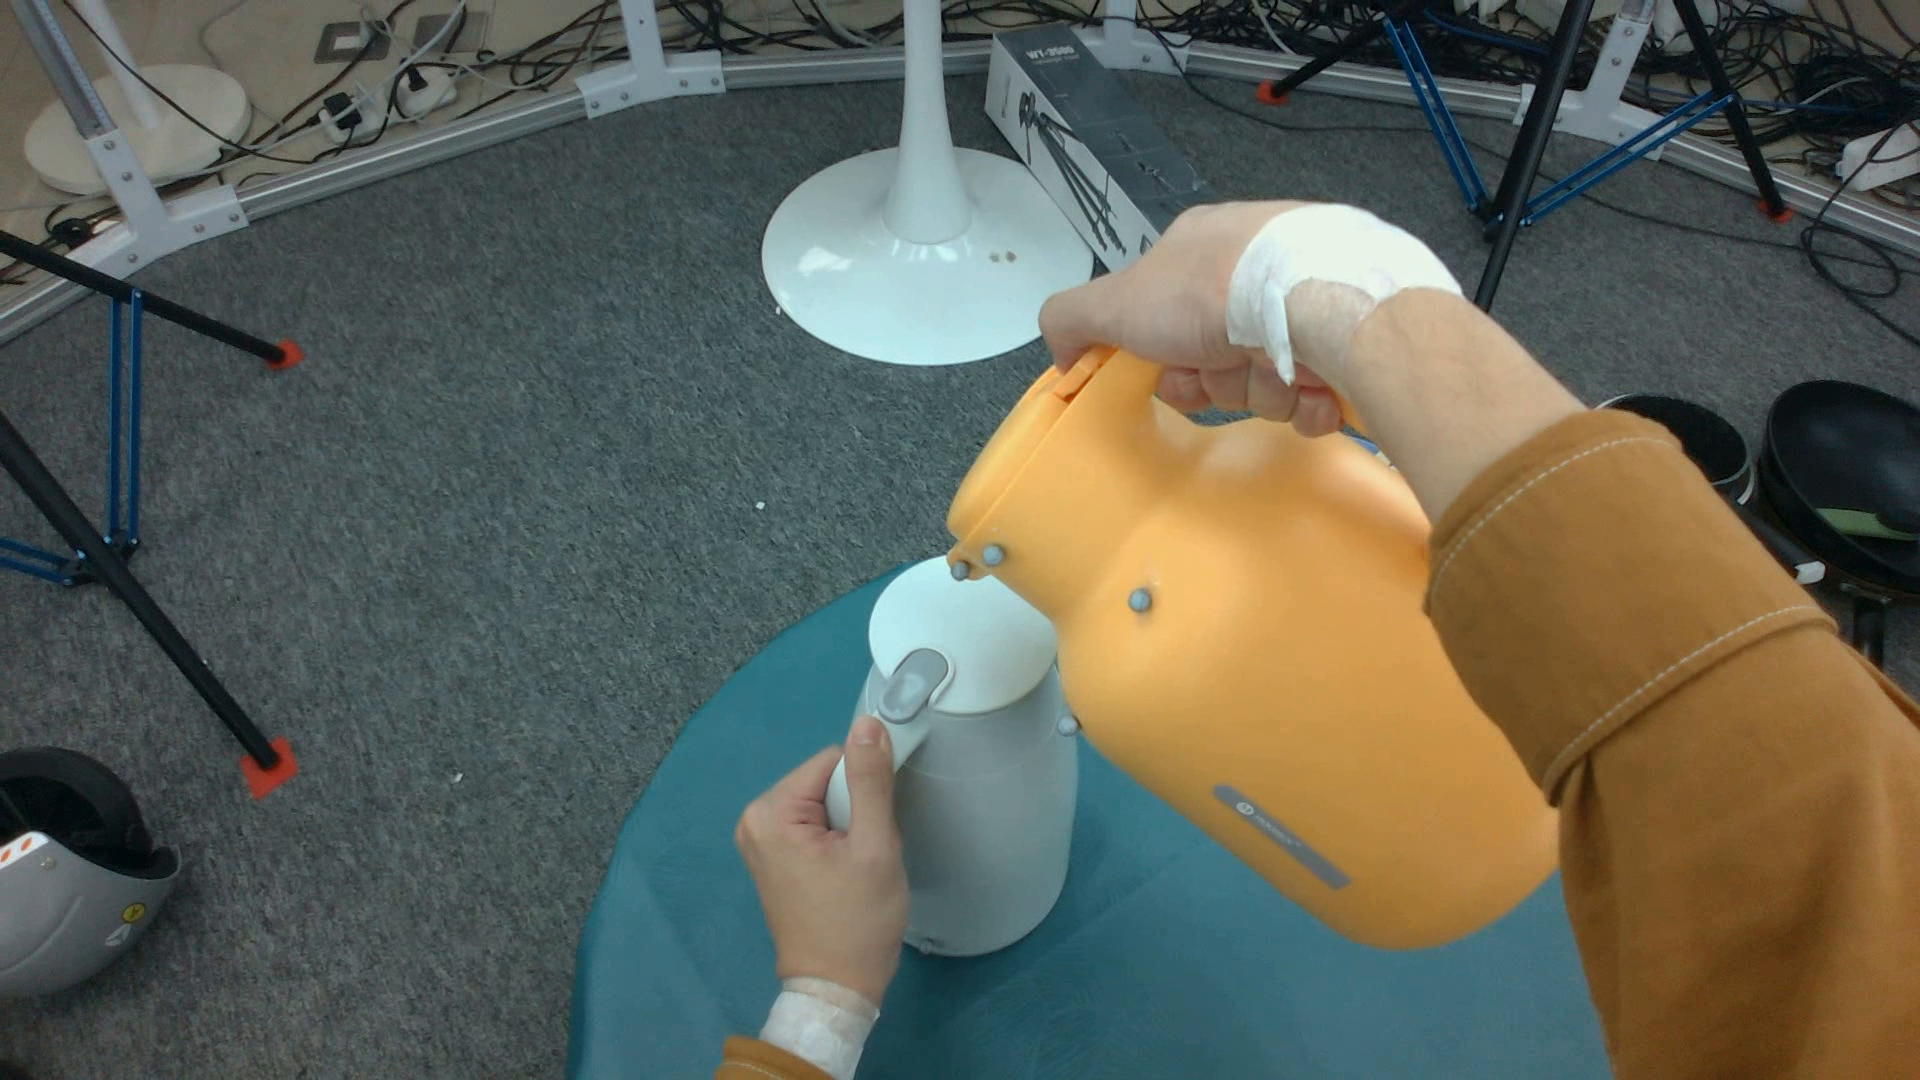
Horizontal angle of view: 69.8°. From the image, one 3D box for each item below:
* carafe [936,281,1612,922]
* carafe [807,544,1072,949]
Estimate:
[{"bbox_3d":[0.124,0.018,0.543,0.260,0.201,0.164,33,50,-4],"label":"carafe"},{"bbox_3d":[-0.014,0.122,0.733,0.132,0.247,0.168,32,58,22],"label":"carafe"}]
